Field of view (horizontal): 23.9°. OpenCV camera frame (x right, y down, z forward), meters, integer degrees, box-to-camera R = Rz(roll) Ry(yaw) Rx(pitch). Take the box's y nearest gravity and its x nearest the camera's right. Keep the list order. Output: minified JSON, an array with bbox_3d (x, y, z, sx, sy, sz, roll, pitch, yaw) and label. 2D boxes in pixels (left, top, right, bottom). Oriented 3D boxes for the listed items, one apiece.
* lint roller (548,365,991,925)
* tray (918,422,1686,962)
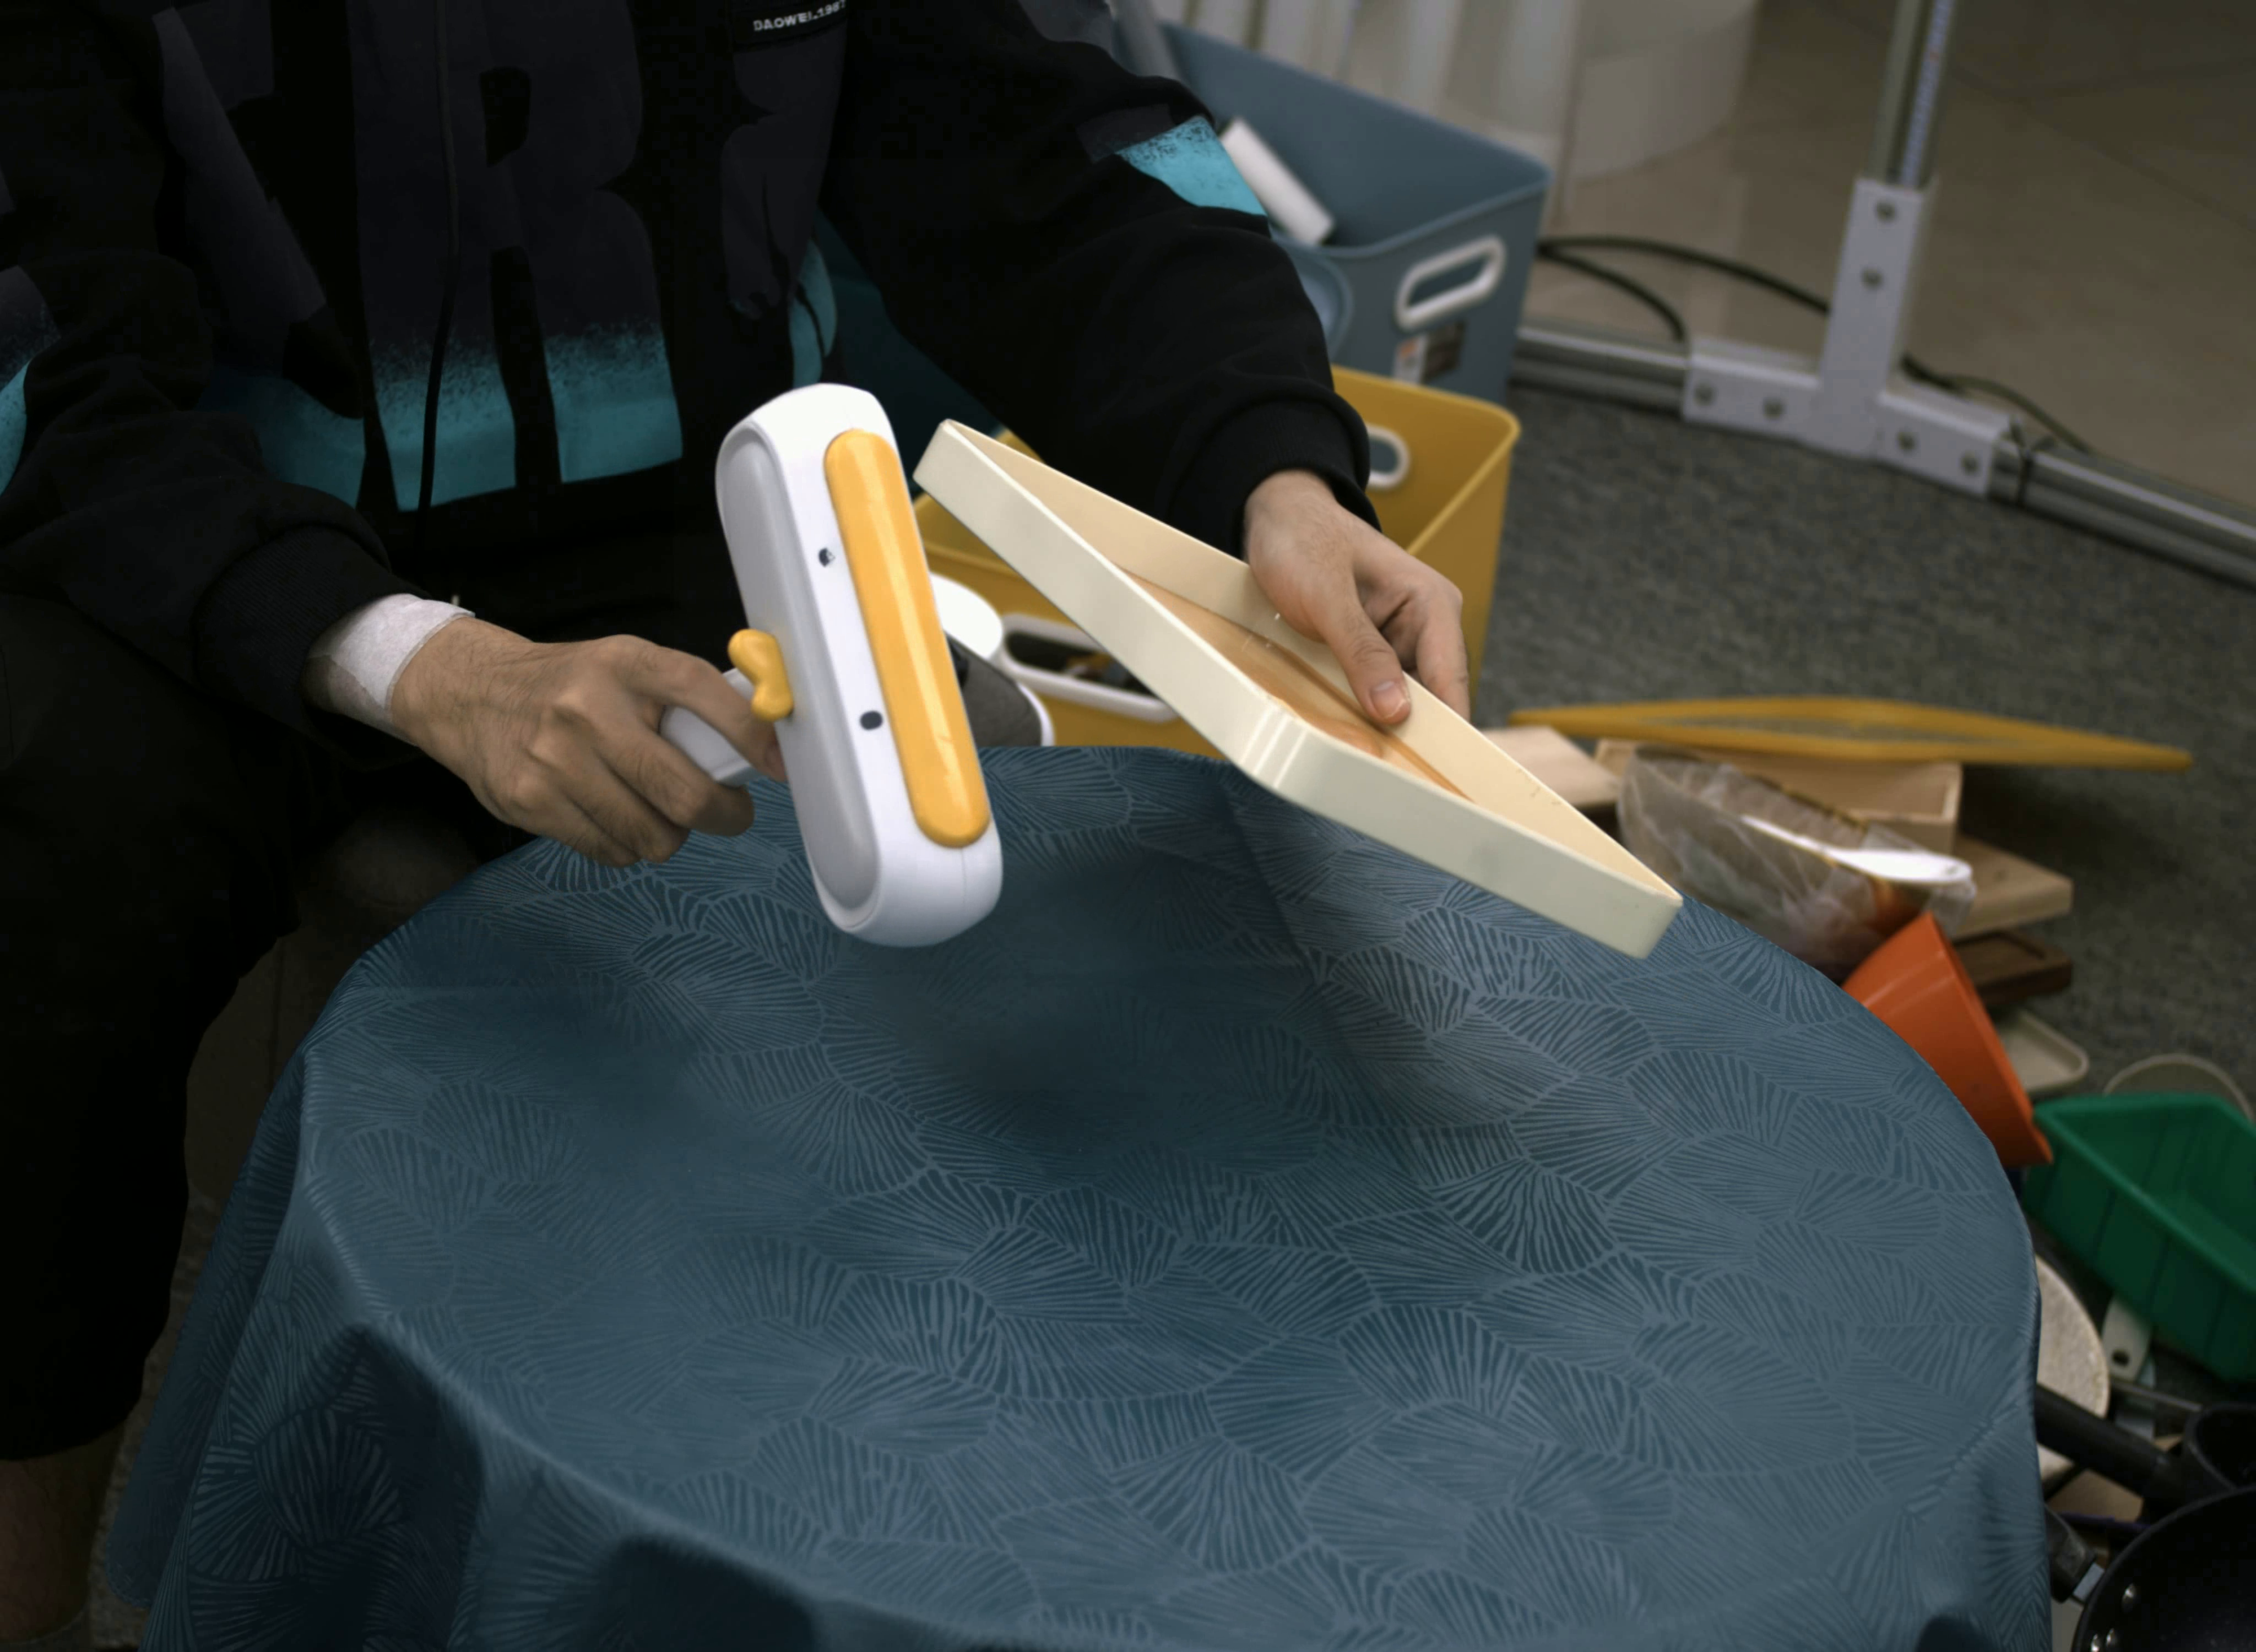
[{"bbox_3d":[-0.132,-0.038,1.822,0.074,0.192,0.194,-12,76,-38],"label":"lint roller"},{"bbox_3d":[0.056,-0.050,1.885,0.190,0.027,0.303,25,10,-34],"label":"tray"}]
